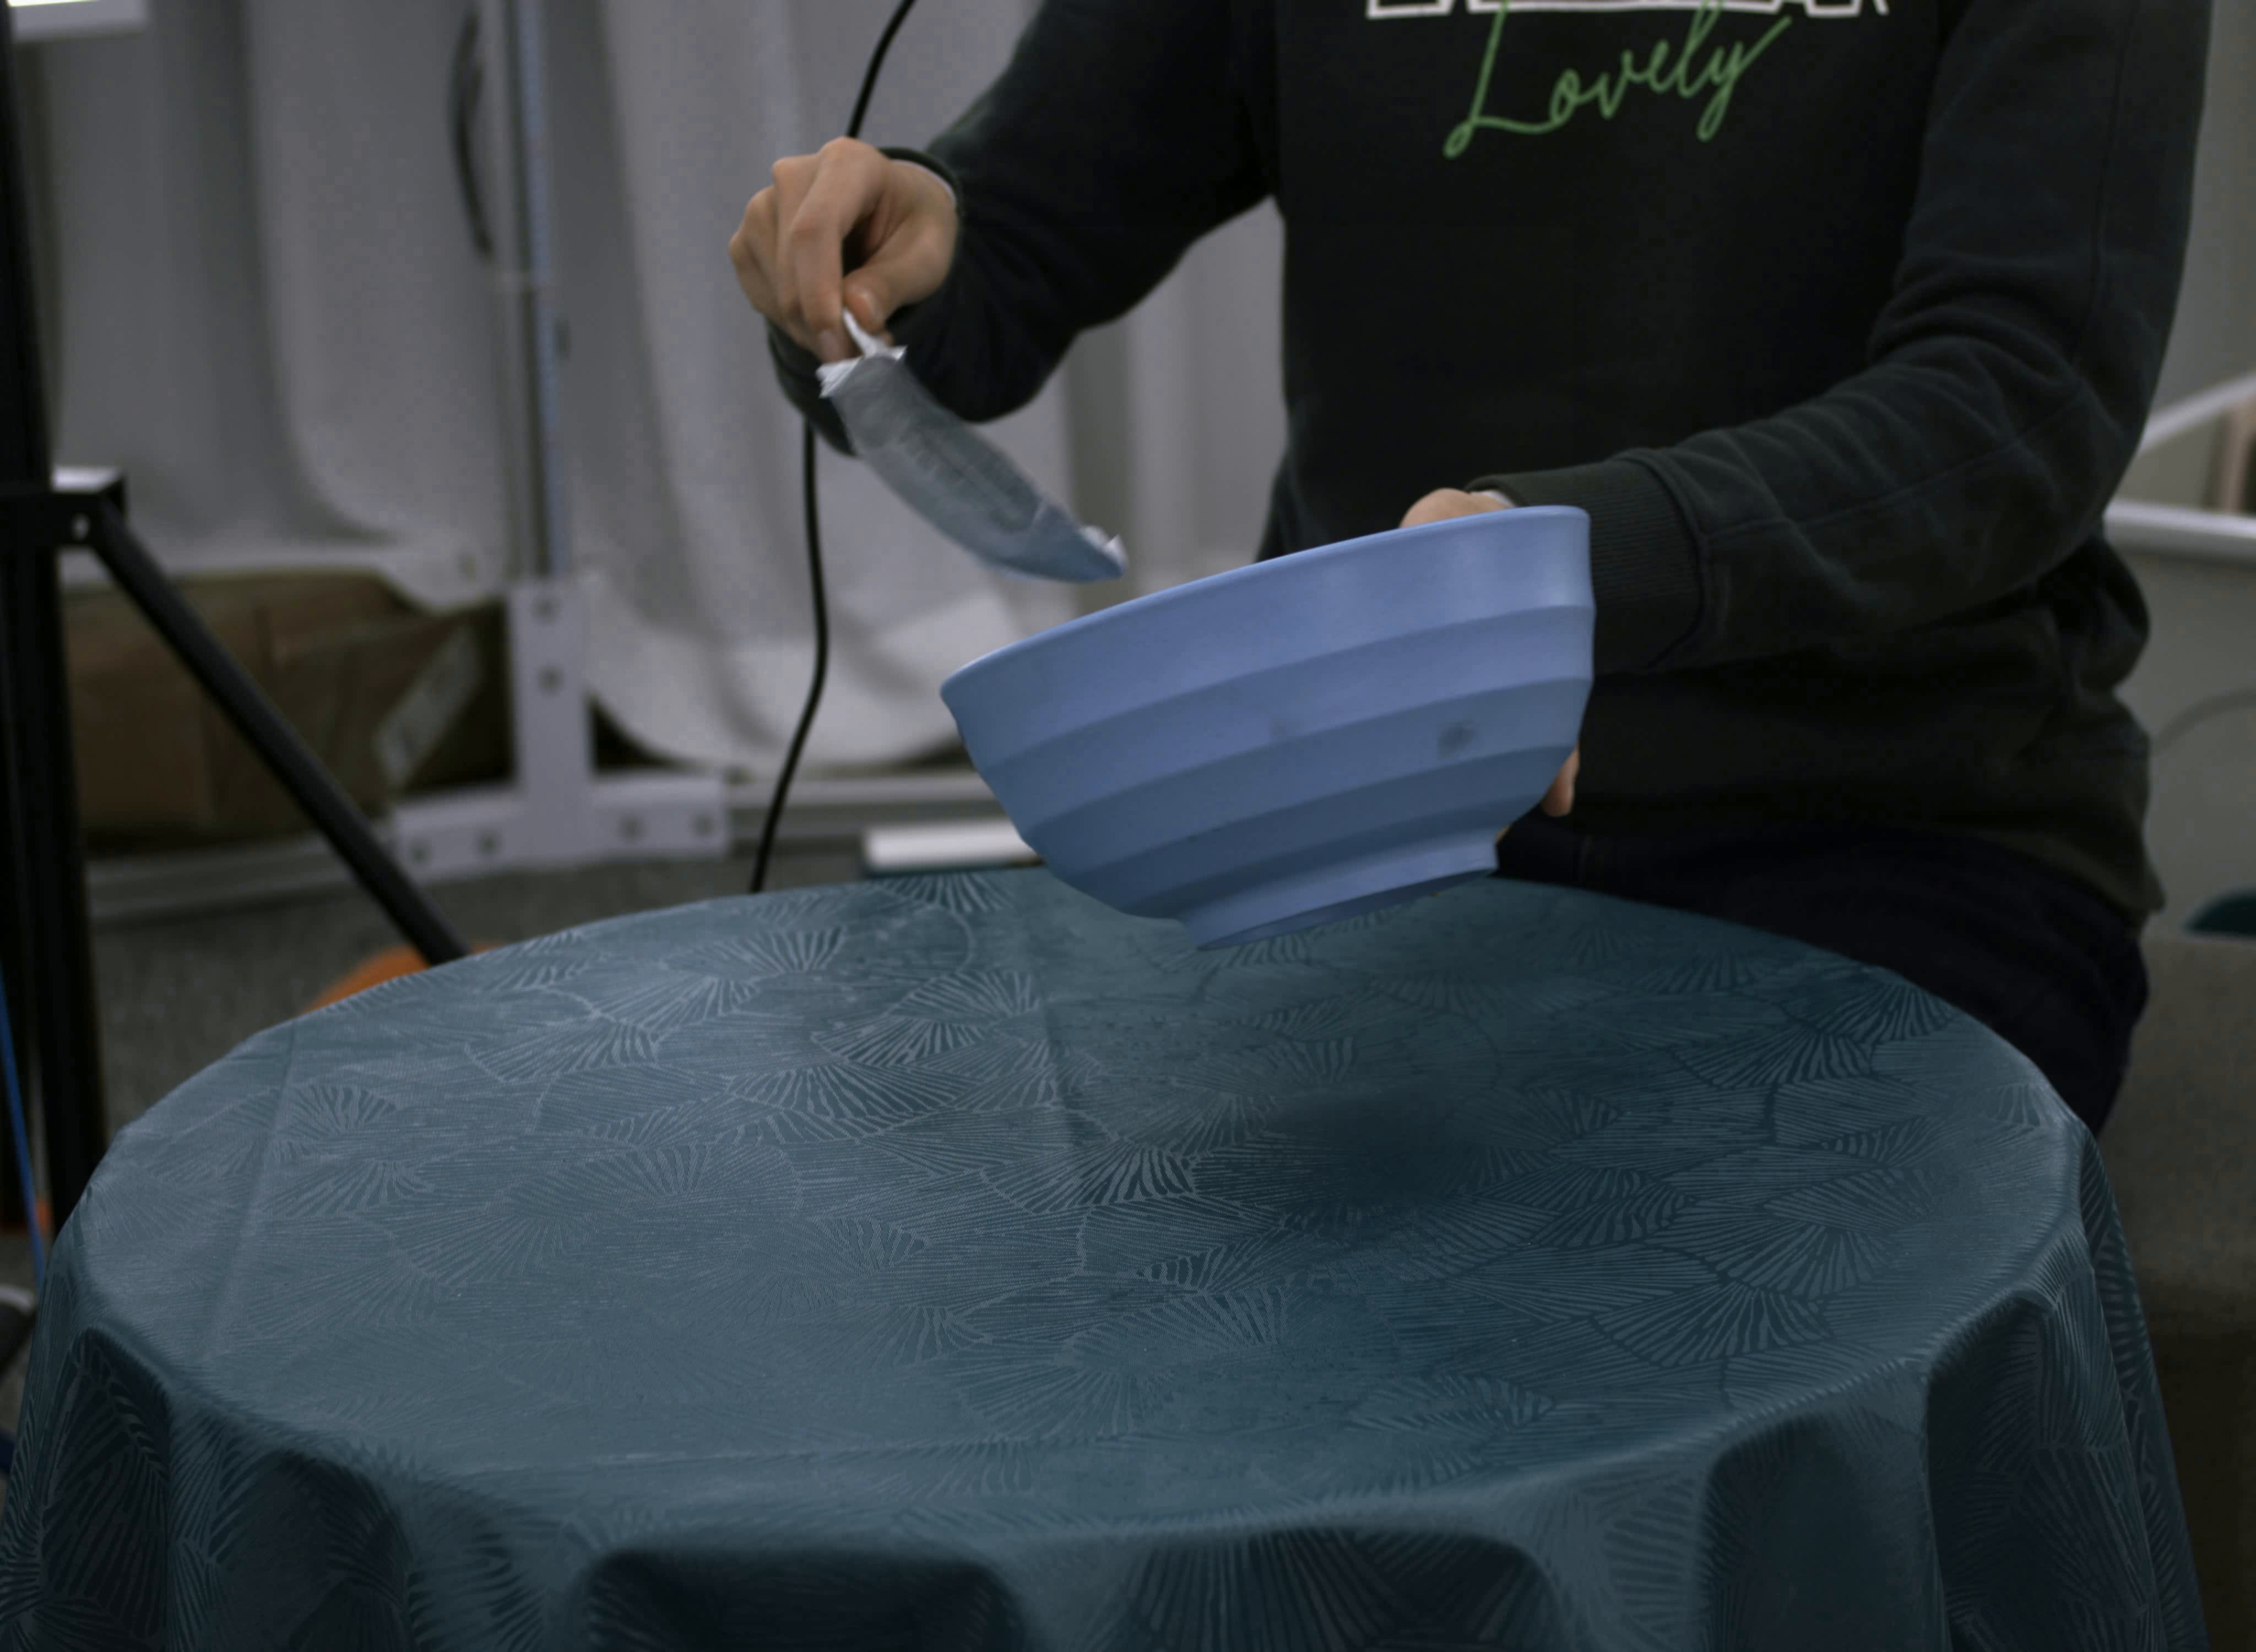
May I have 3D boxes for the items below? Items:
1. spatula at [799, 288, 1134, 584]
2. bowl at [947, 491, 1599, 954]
[{"bbox_3d":[-0.070,-0.139,1.676,0.045,0.097,0.369,-47,18,7],"label":"spatula"},{"bbox_3d":[0.054,-0.021,1.544,0.195,0.096,0.196,-16,-5,-3],"label":"bowl"}]
